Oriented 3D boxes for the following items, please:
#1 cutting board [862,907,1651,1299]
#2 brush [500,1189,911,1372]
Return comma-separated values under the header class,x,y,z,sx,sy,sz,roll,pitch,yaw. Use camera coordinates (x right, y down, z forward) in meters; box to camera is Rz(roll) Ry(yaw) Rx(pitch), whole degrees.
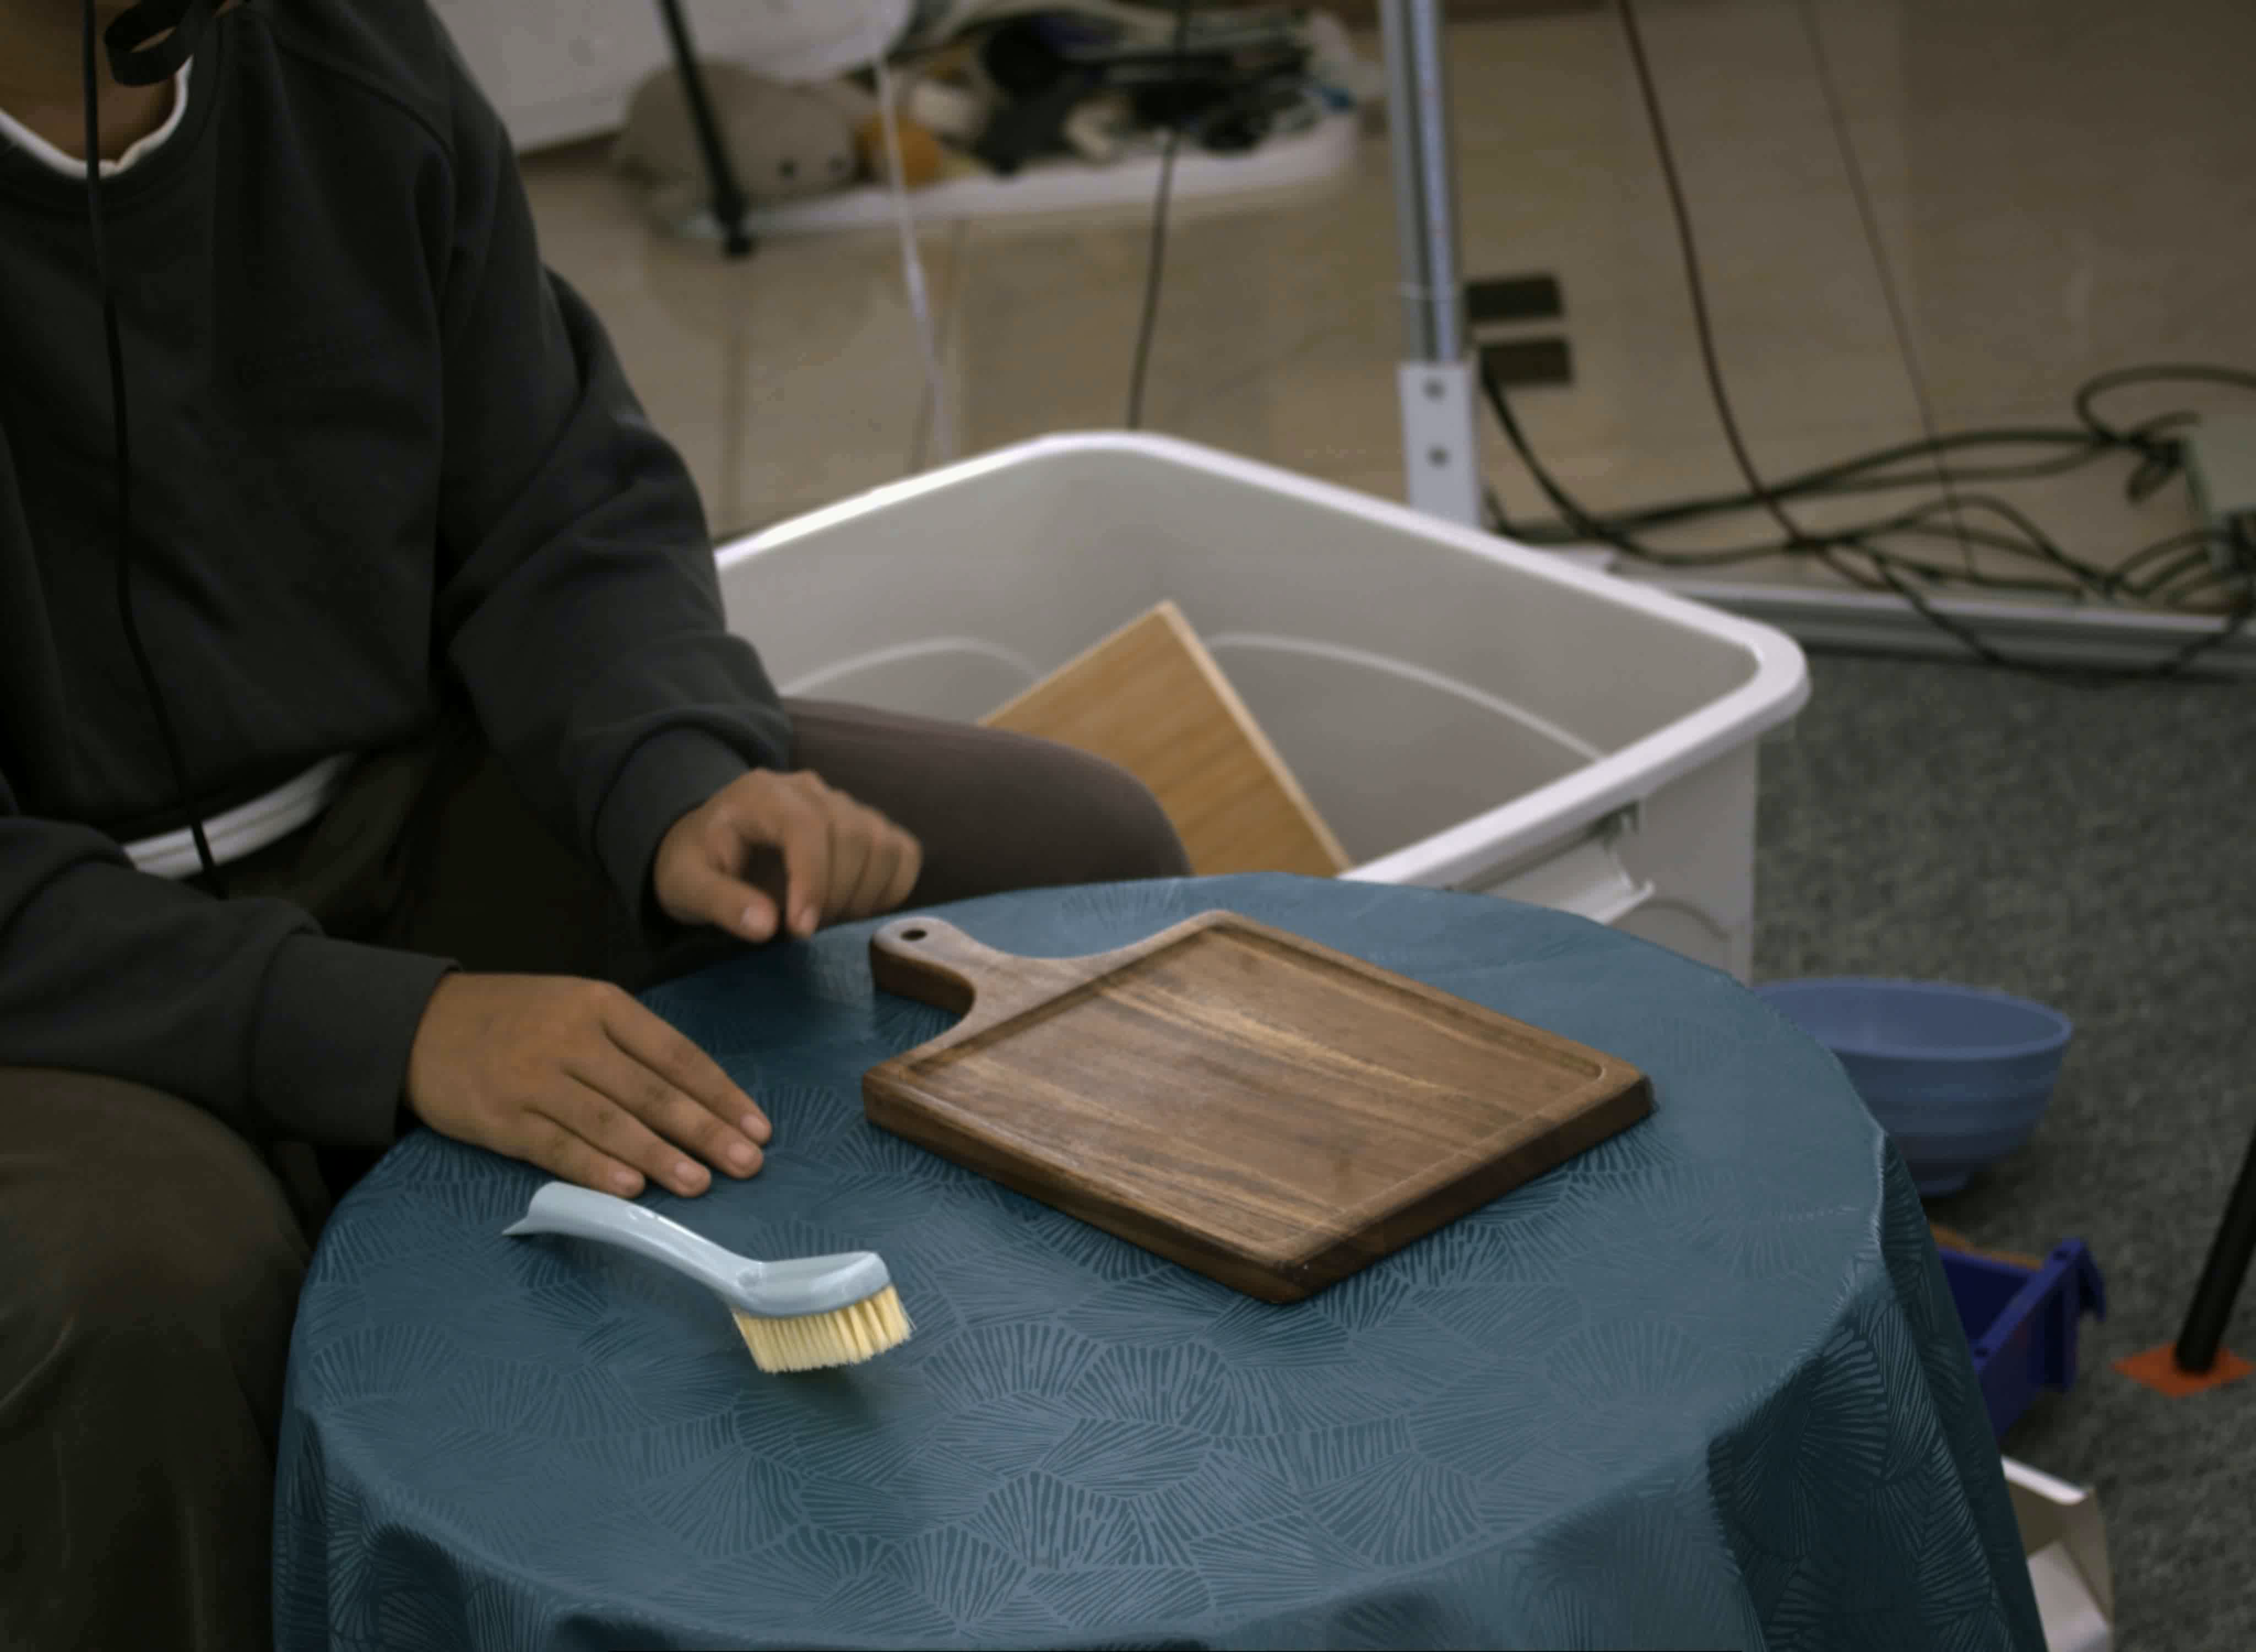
class,x,y,z,sx,sy,sz,roll,pitch,yaw
cutting board,0.015,0.090,2.226,0.199,0.023,0.349,-24,30,-35
brush,-0.160,0.167,2.090,0.037,0.050,0.228,-25,21,-38
